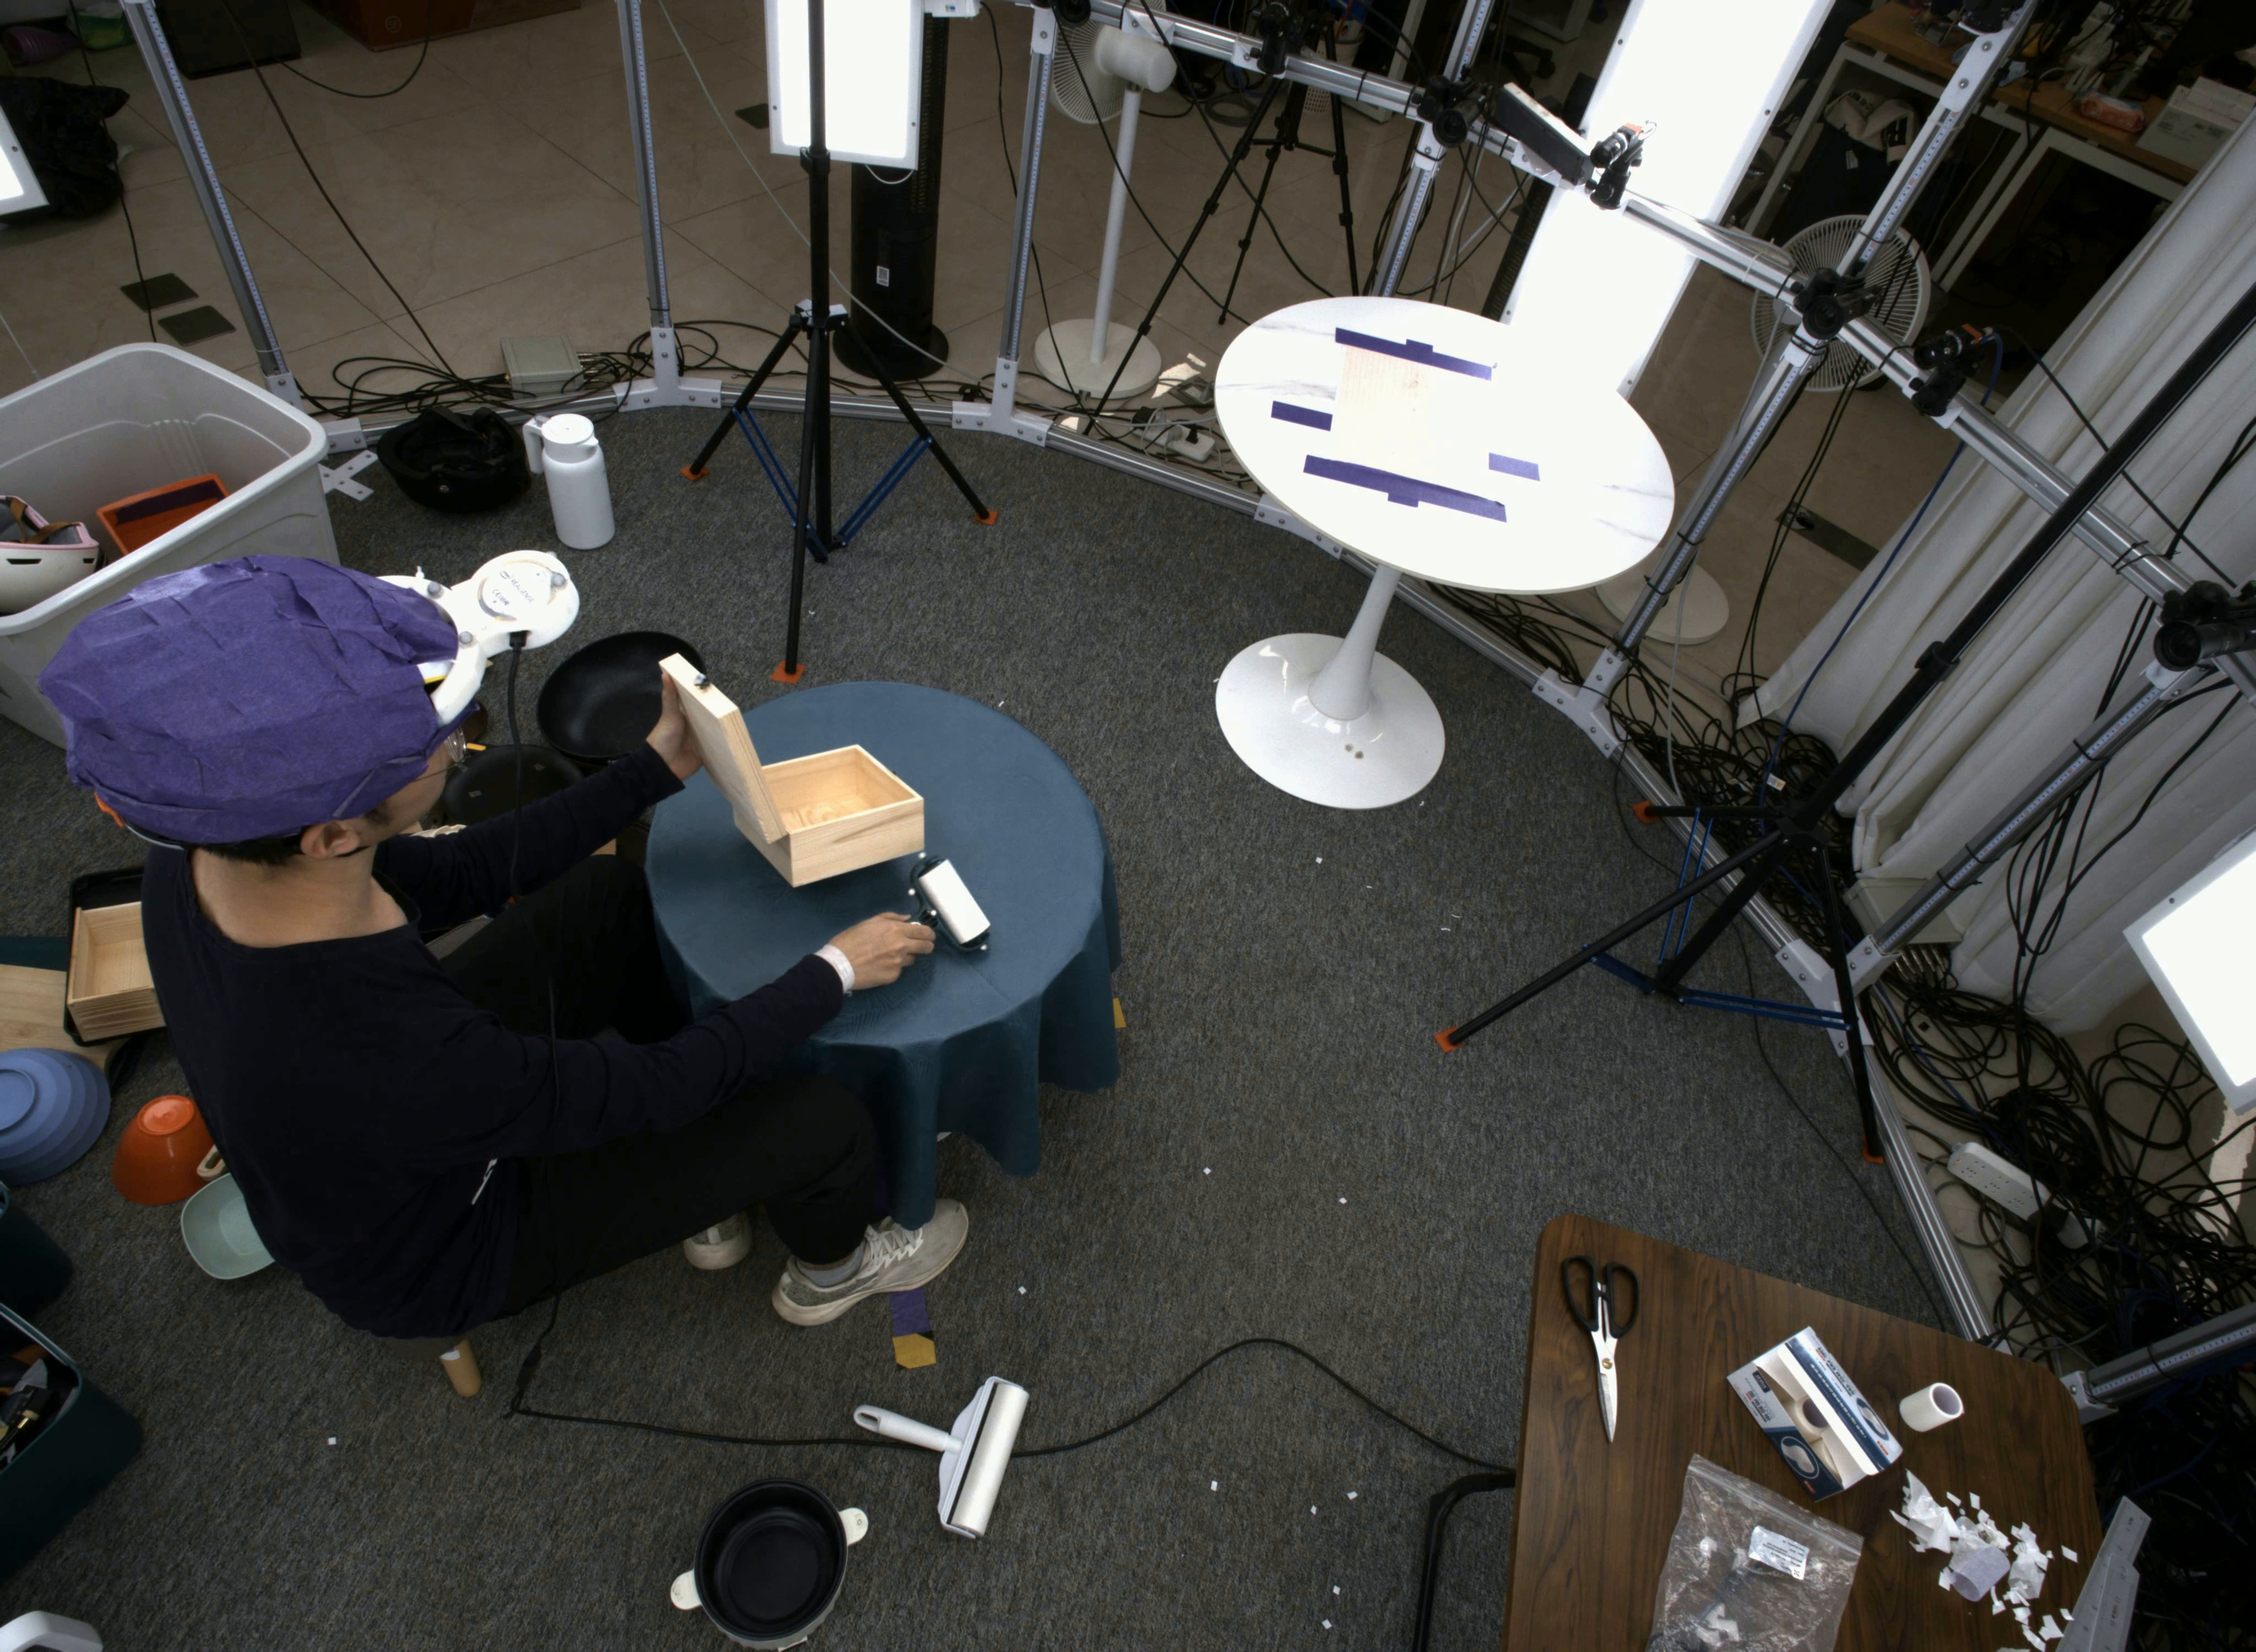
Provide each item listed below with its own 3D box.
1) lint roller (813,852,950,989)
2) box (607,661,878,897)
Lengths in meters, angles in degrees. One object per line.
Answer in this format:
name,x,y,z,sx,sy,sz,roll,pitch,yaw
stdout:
lint roller,-0.317,0.133,1.607,0.136,0.048,0.180,51,54,-6
box,-0.464,-0.080,1.571,0.267,0.261,0.175,-22,40,-36
